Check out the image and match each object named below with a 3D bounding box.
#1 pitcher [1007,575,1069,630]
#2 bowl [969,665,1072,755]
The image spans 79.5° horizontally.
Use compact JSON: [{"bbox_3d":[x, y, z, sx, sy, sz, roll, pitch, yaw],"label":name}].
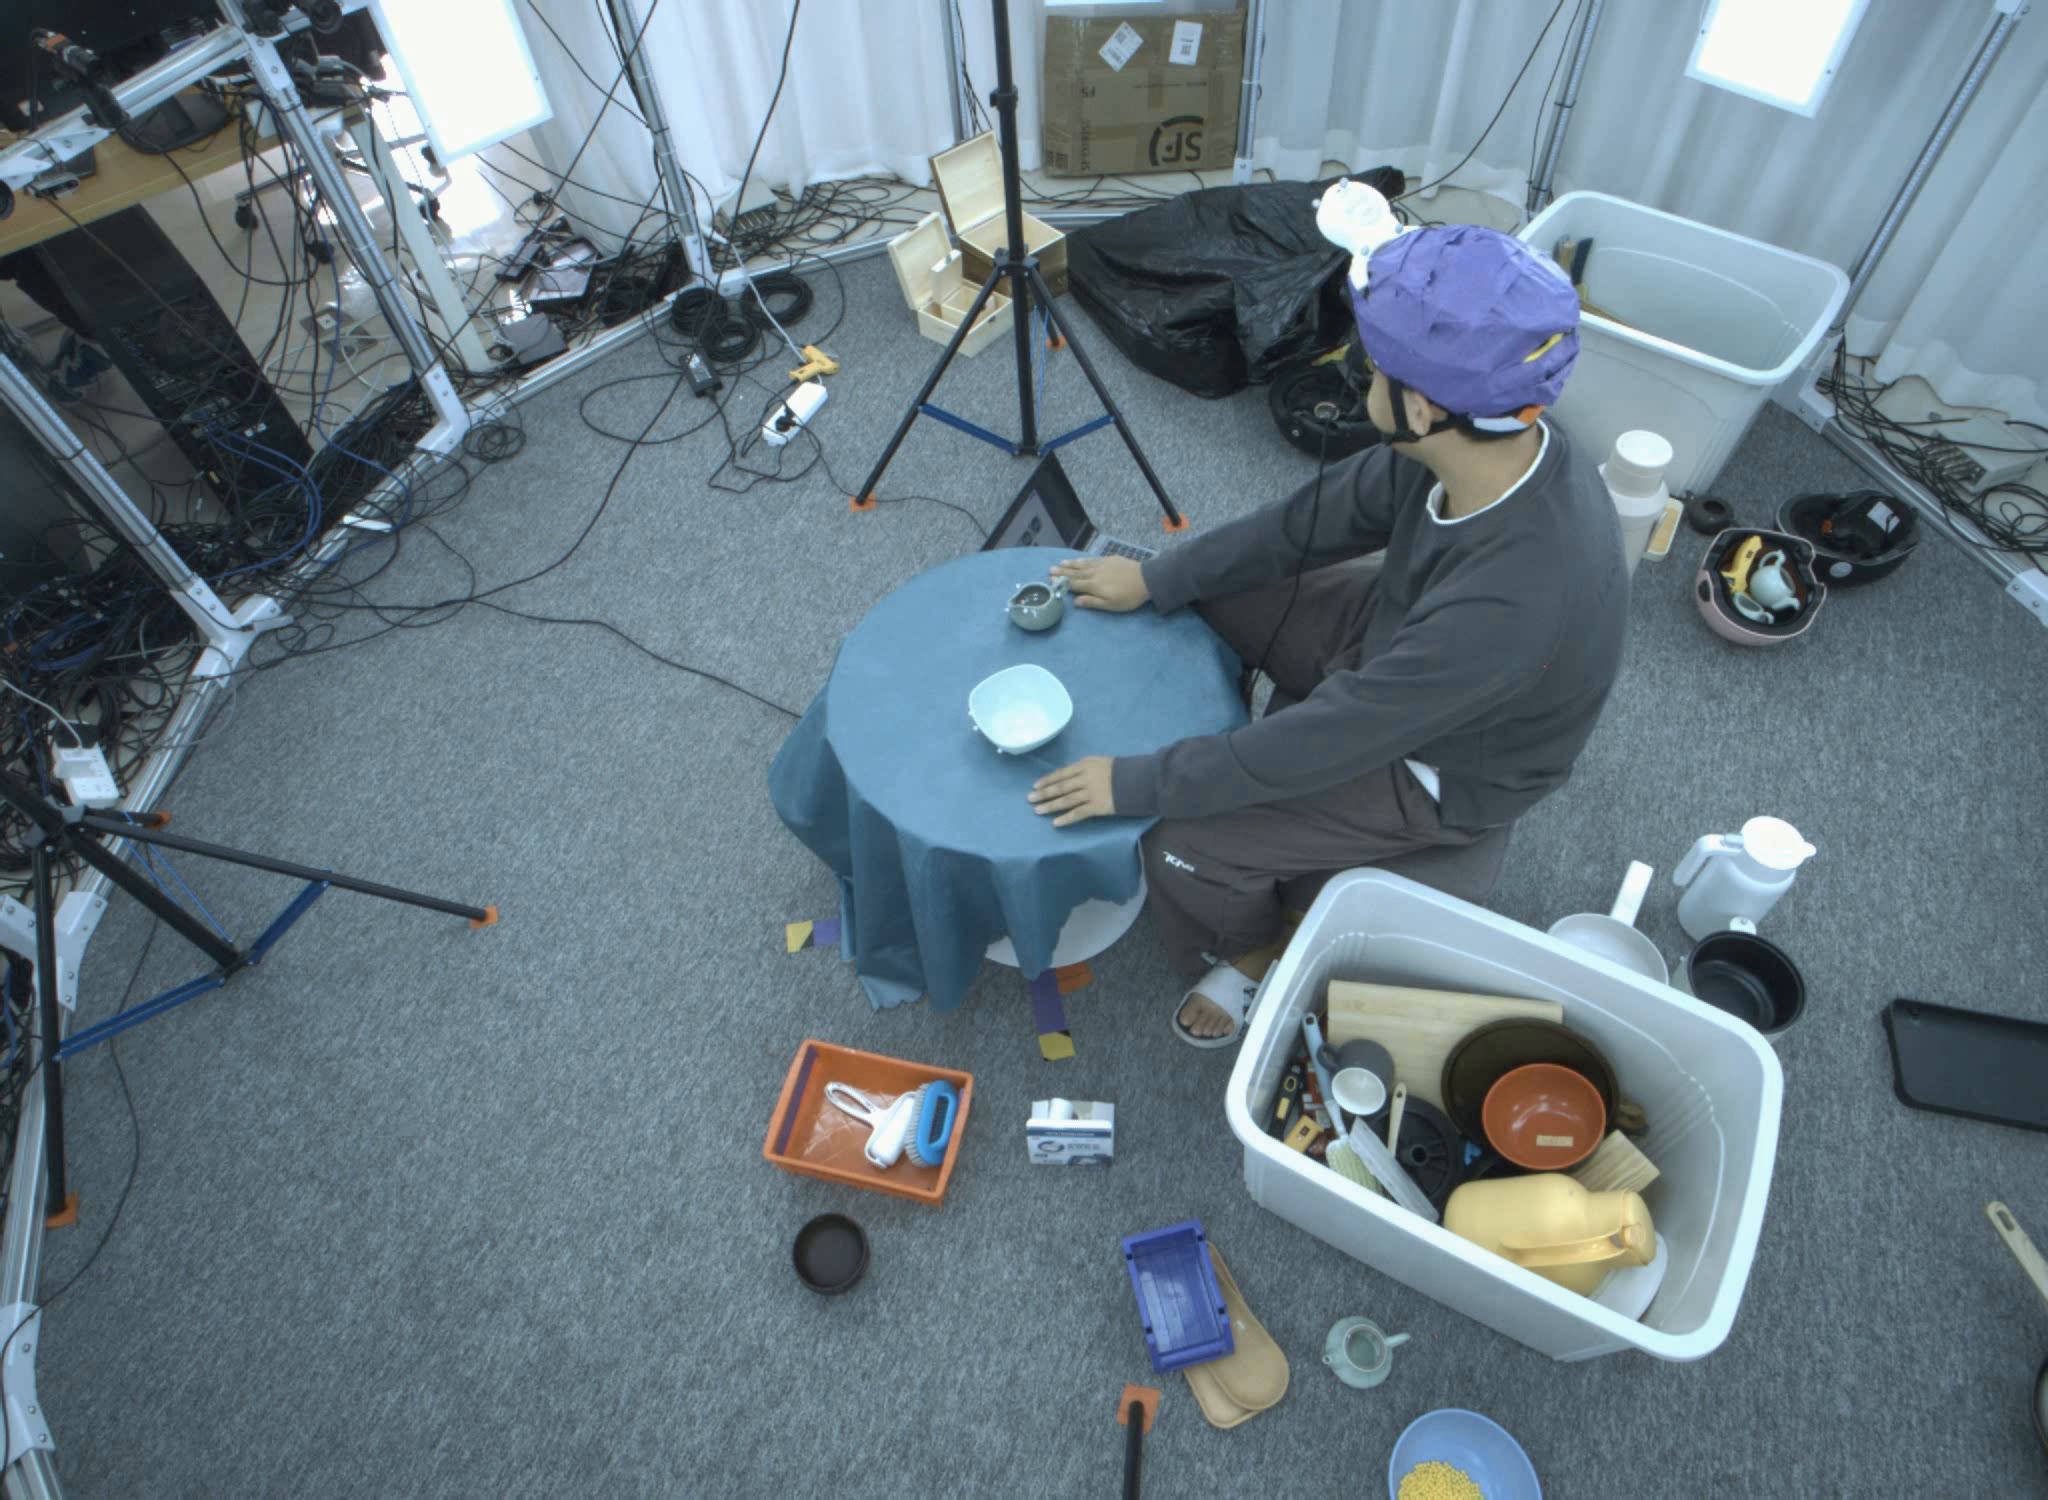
[{"bbox_3d":[0.022,-0.232,1.918,0.113,0.057,0.082,-30,59,-19],"label":"pitcher"},{"bbox_3d":[-0.003,-0.048,1.788,0.151,0.059,0.150,-1,55,3],"label":"bowl"}]
